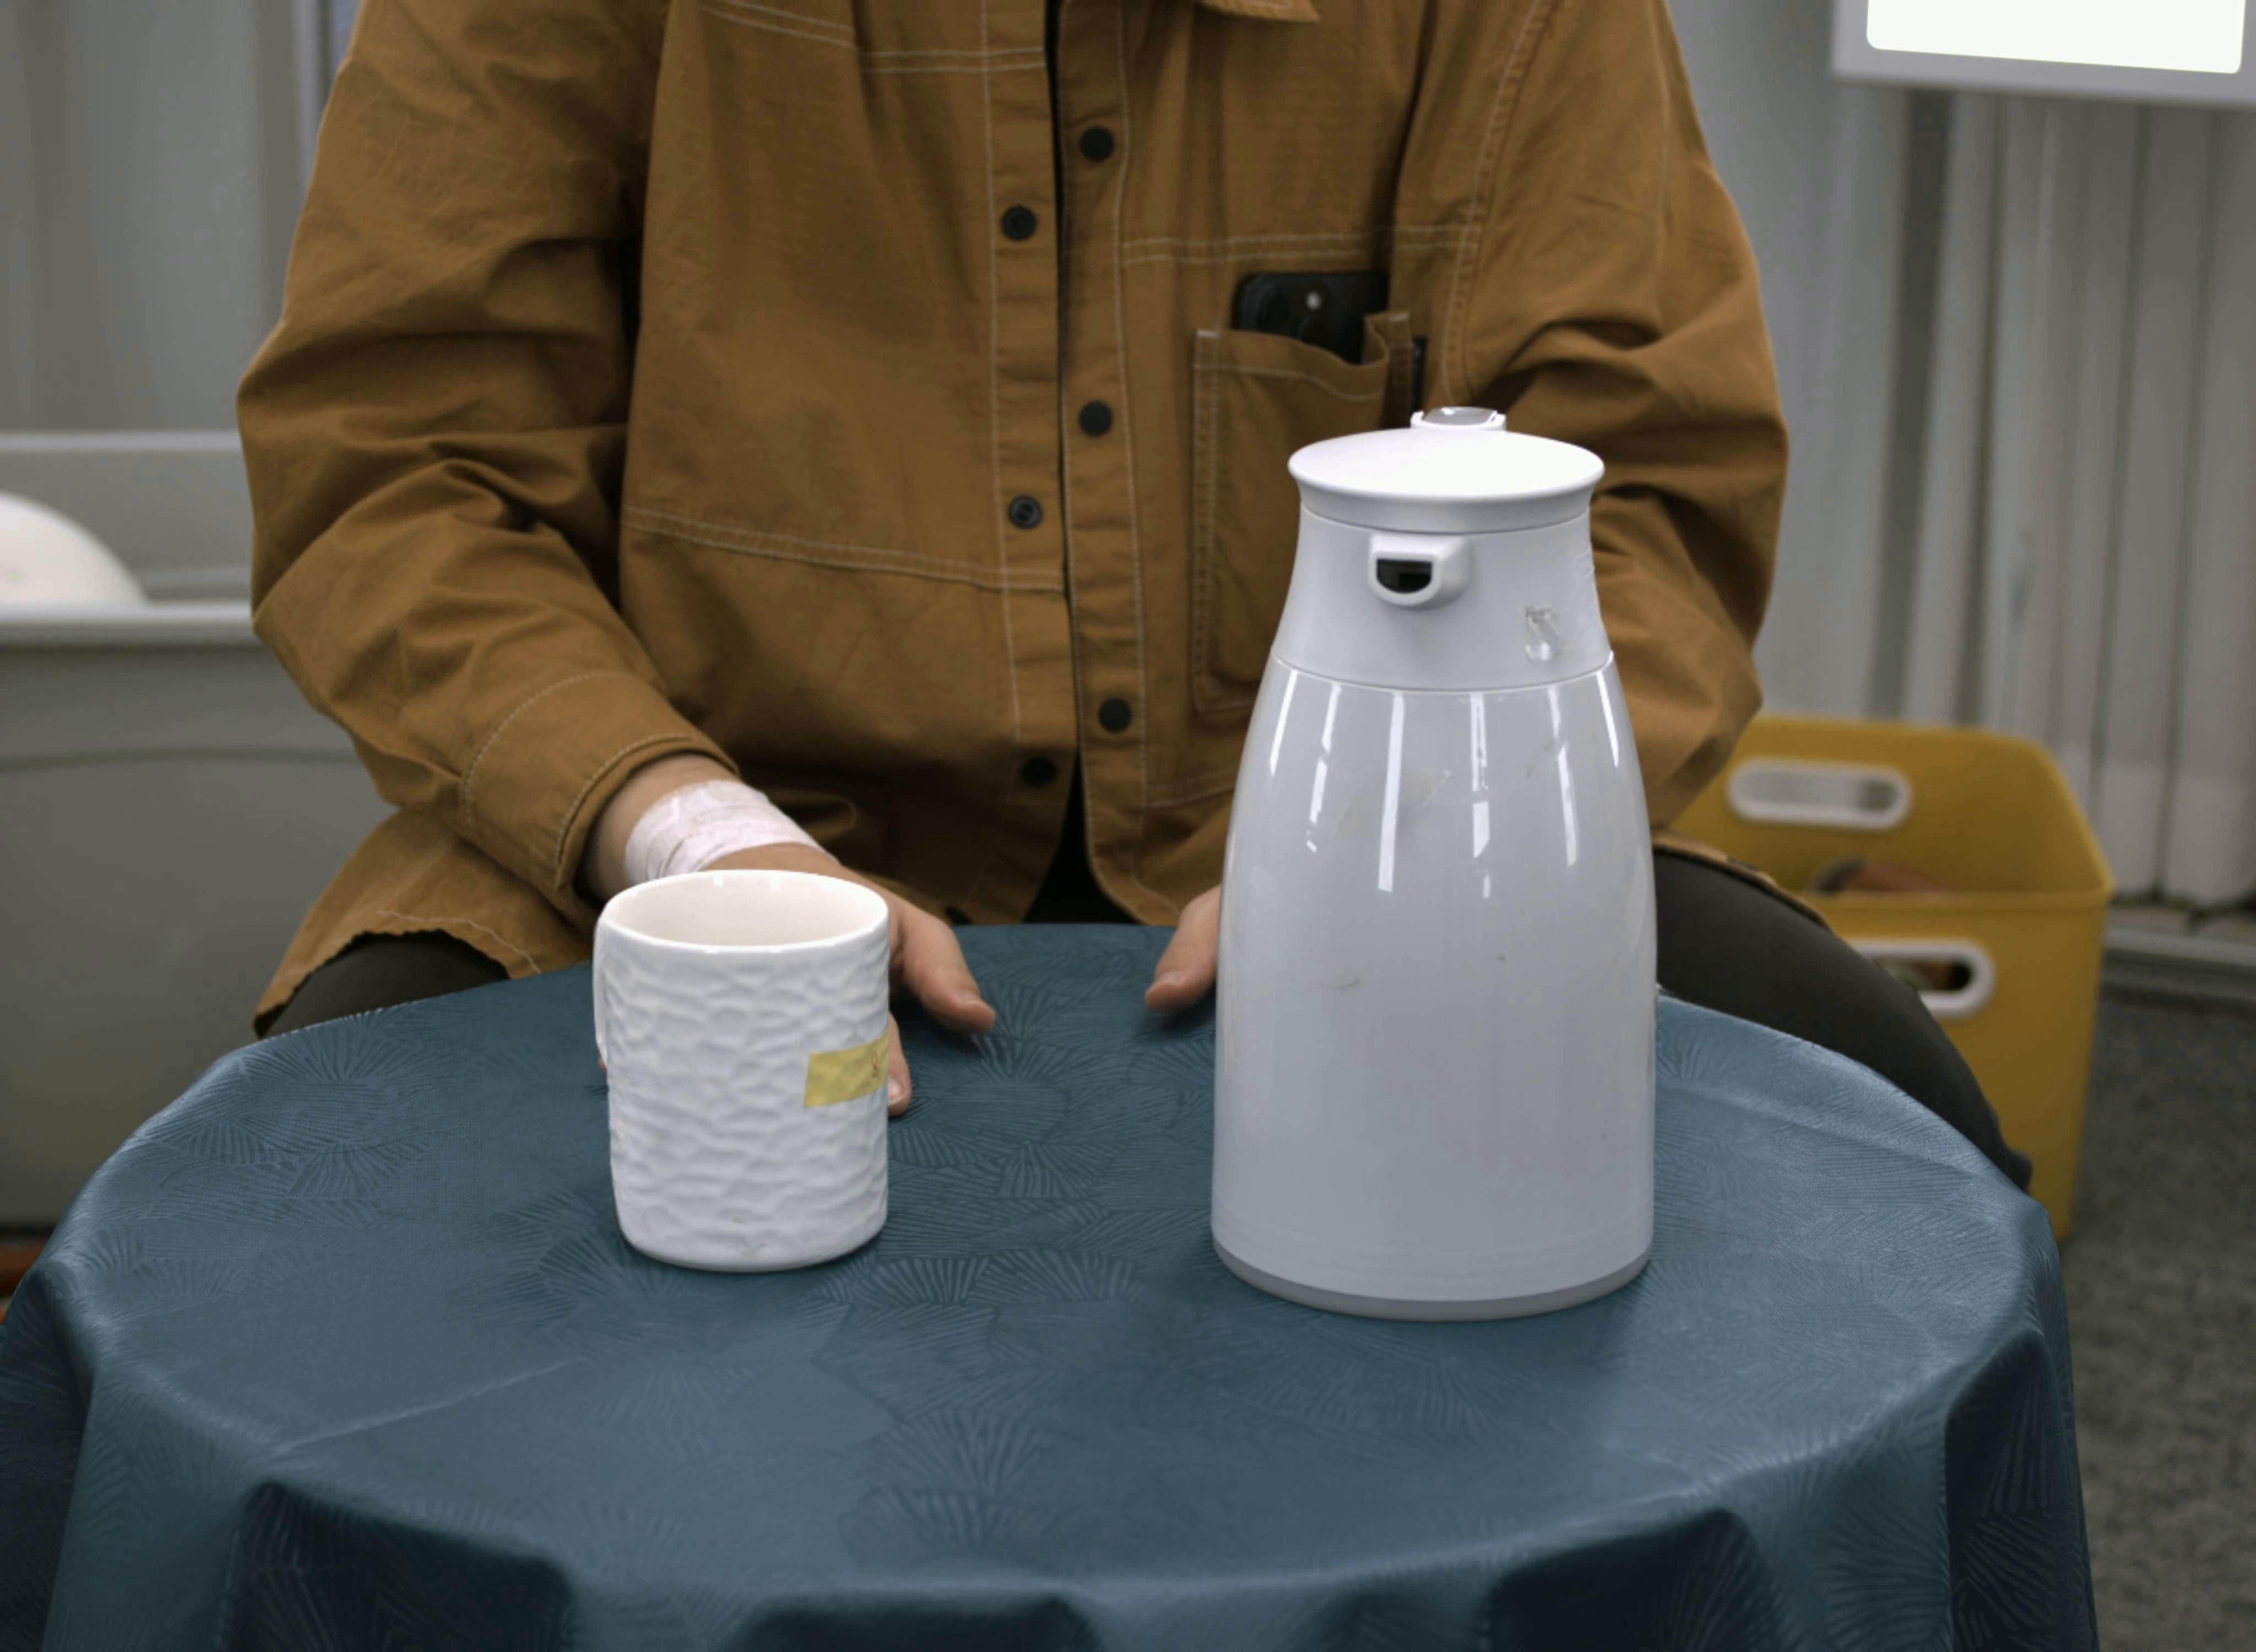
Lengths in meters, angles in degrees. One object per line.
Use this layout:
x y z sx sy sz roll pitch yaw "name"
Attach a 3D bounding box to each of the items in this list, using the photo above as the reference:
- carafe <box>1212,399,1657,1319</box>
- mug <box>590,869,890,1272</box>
0.094 0.001 1.561 0.131 0.250 0.167 3 16 11 "carafe"
-0.124 0.070 1.583 0.085 0.103 0.116 -12 19 -39 "mug"
